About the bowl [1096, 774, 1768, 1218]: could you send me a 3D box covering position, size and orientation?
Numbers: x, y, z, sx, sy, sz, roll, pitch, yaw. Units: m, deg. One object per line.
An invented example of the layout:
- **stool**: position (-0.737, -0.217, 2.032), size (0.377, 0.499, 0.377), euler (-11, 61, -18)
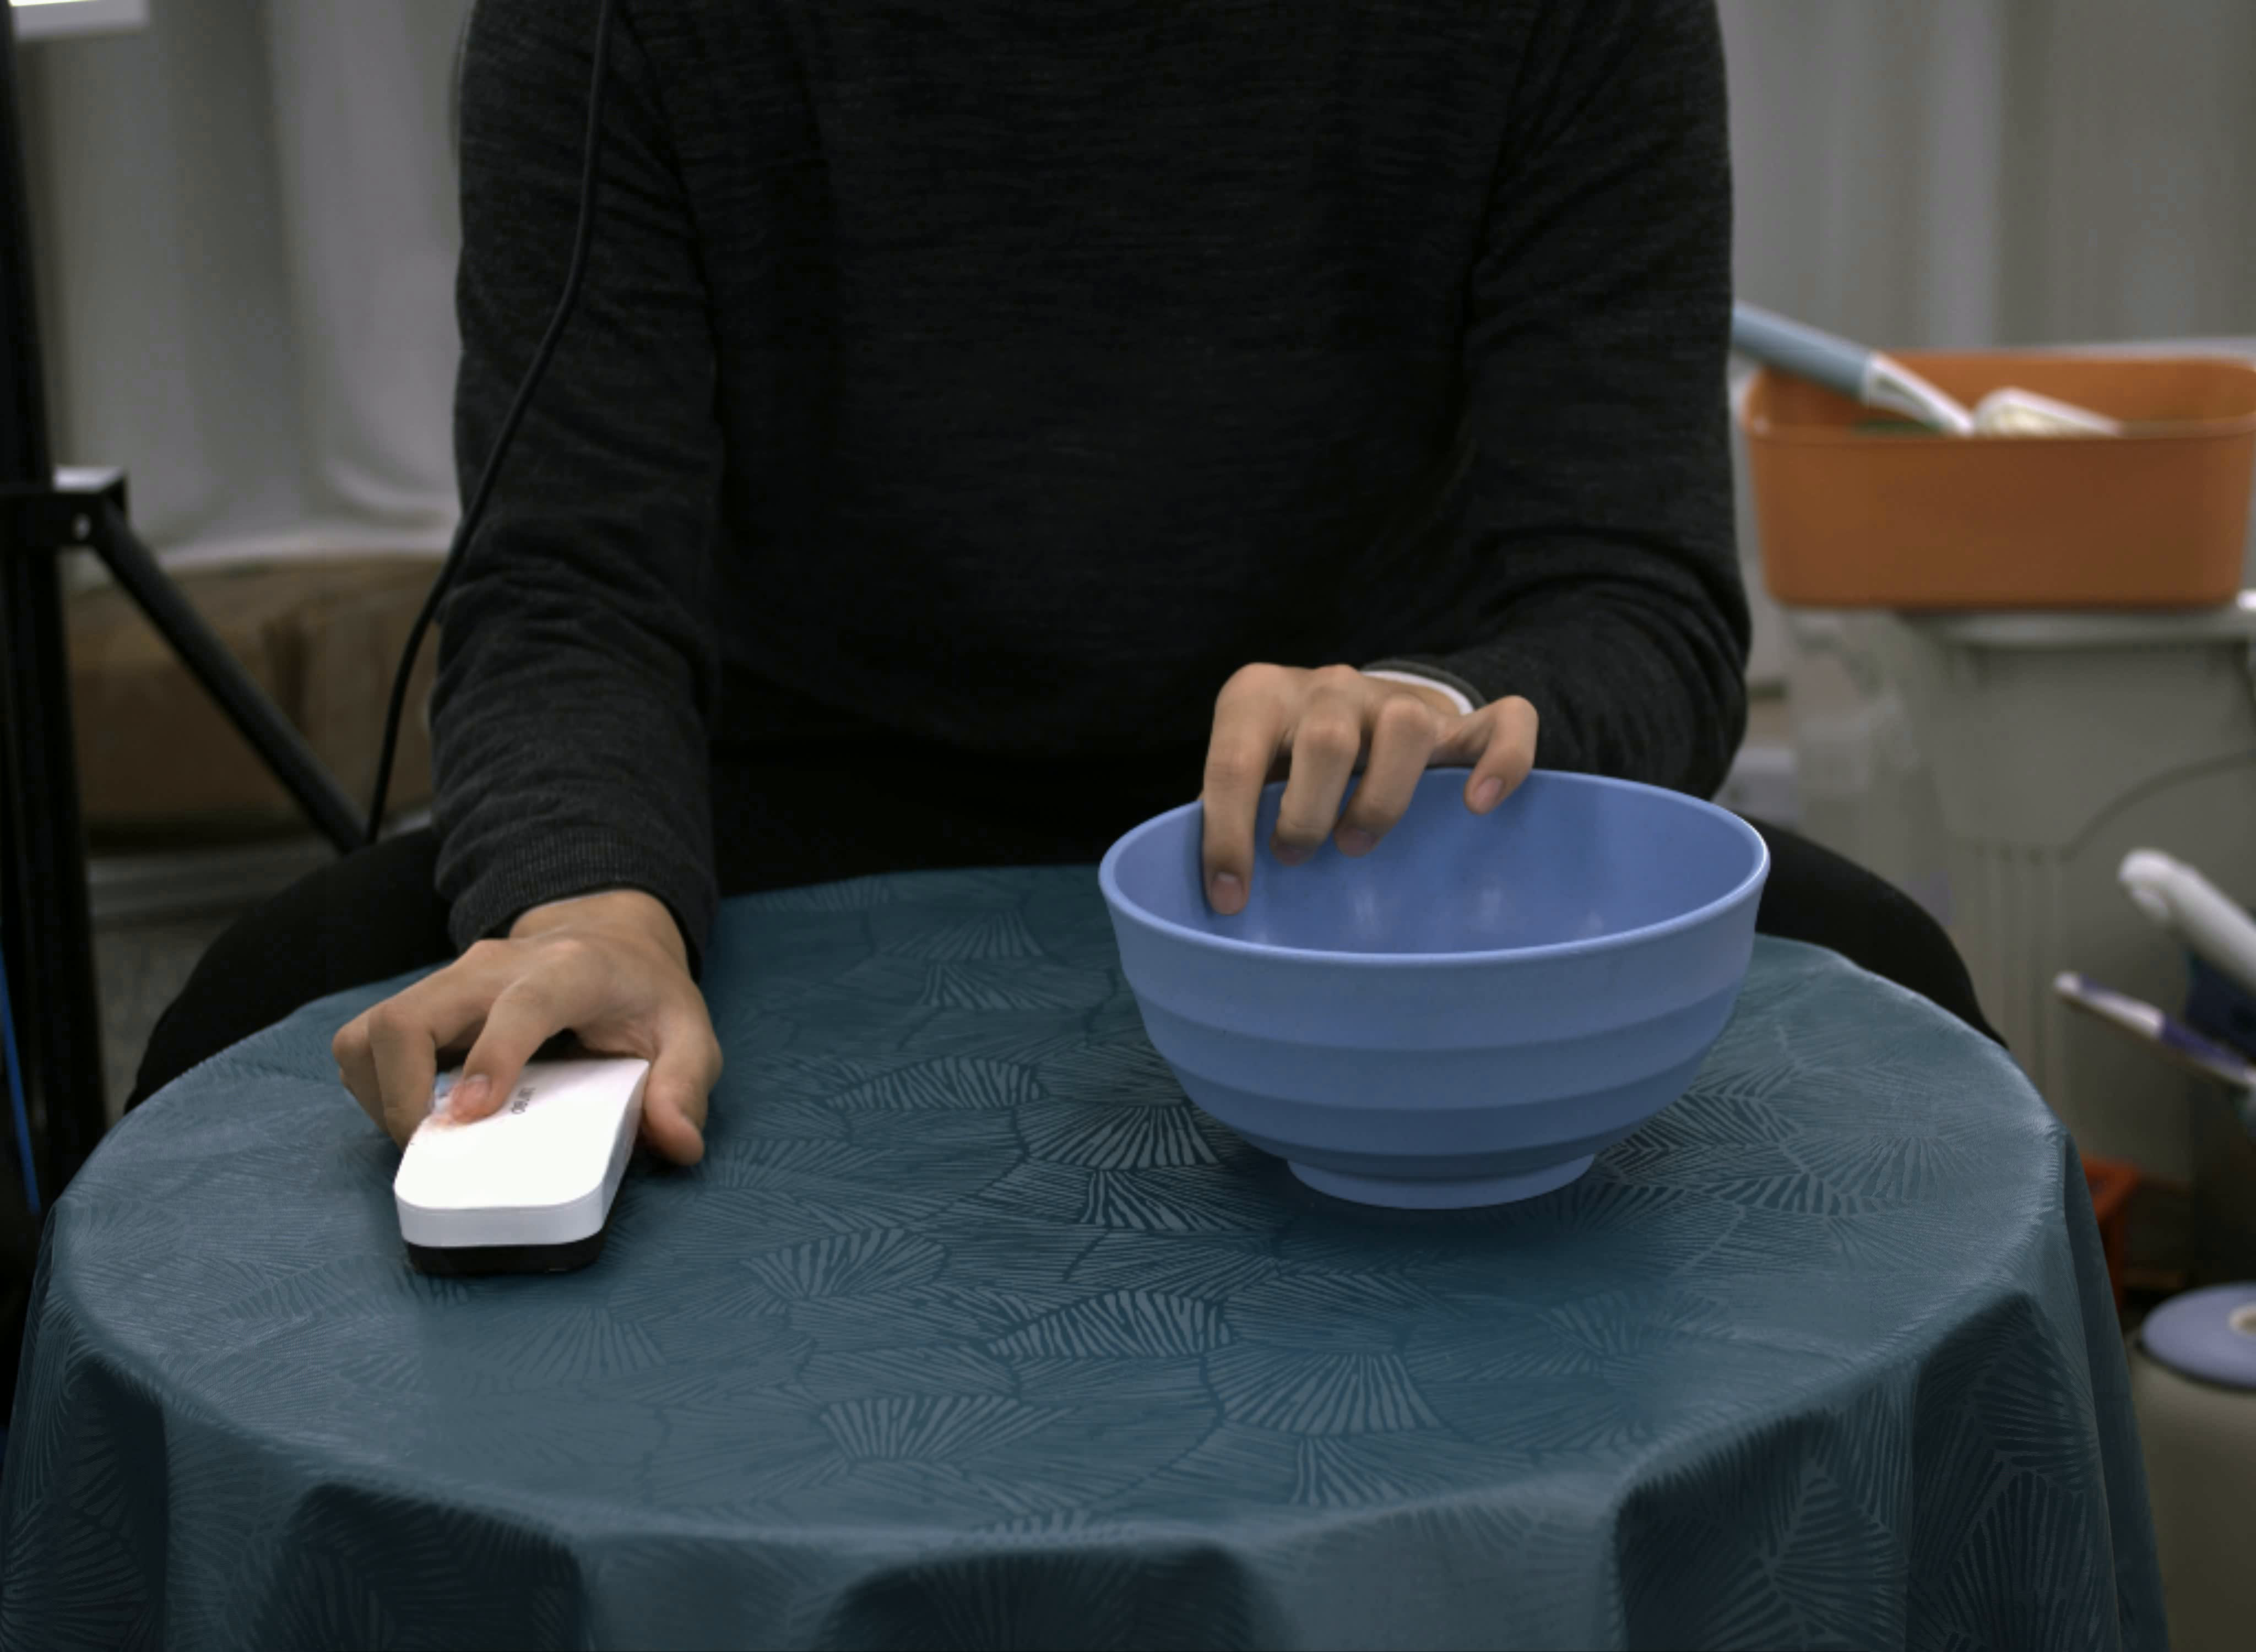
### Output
- **bowl**: position (0.090, 0.056, 1.560), size (0.195, 0.095, 0.197), euler (-4, 15, 0)

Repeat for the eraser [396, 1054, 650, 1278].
- **eraser**: position (-0.175, 0.096, 1.572), size (0.063, 0.034, 0.131), euler (-1, 17, 4)
